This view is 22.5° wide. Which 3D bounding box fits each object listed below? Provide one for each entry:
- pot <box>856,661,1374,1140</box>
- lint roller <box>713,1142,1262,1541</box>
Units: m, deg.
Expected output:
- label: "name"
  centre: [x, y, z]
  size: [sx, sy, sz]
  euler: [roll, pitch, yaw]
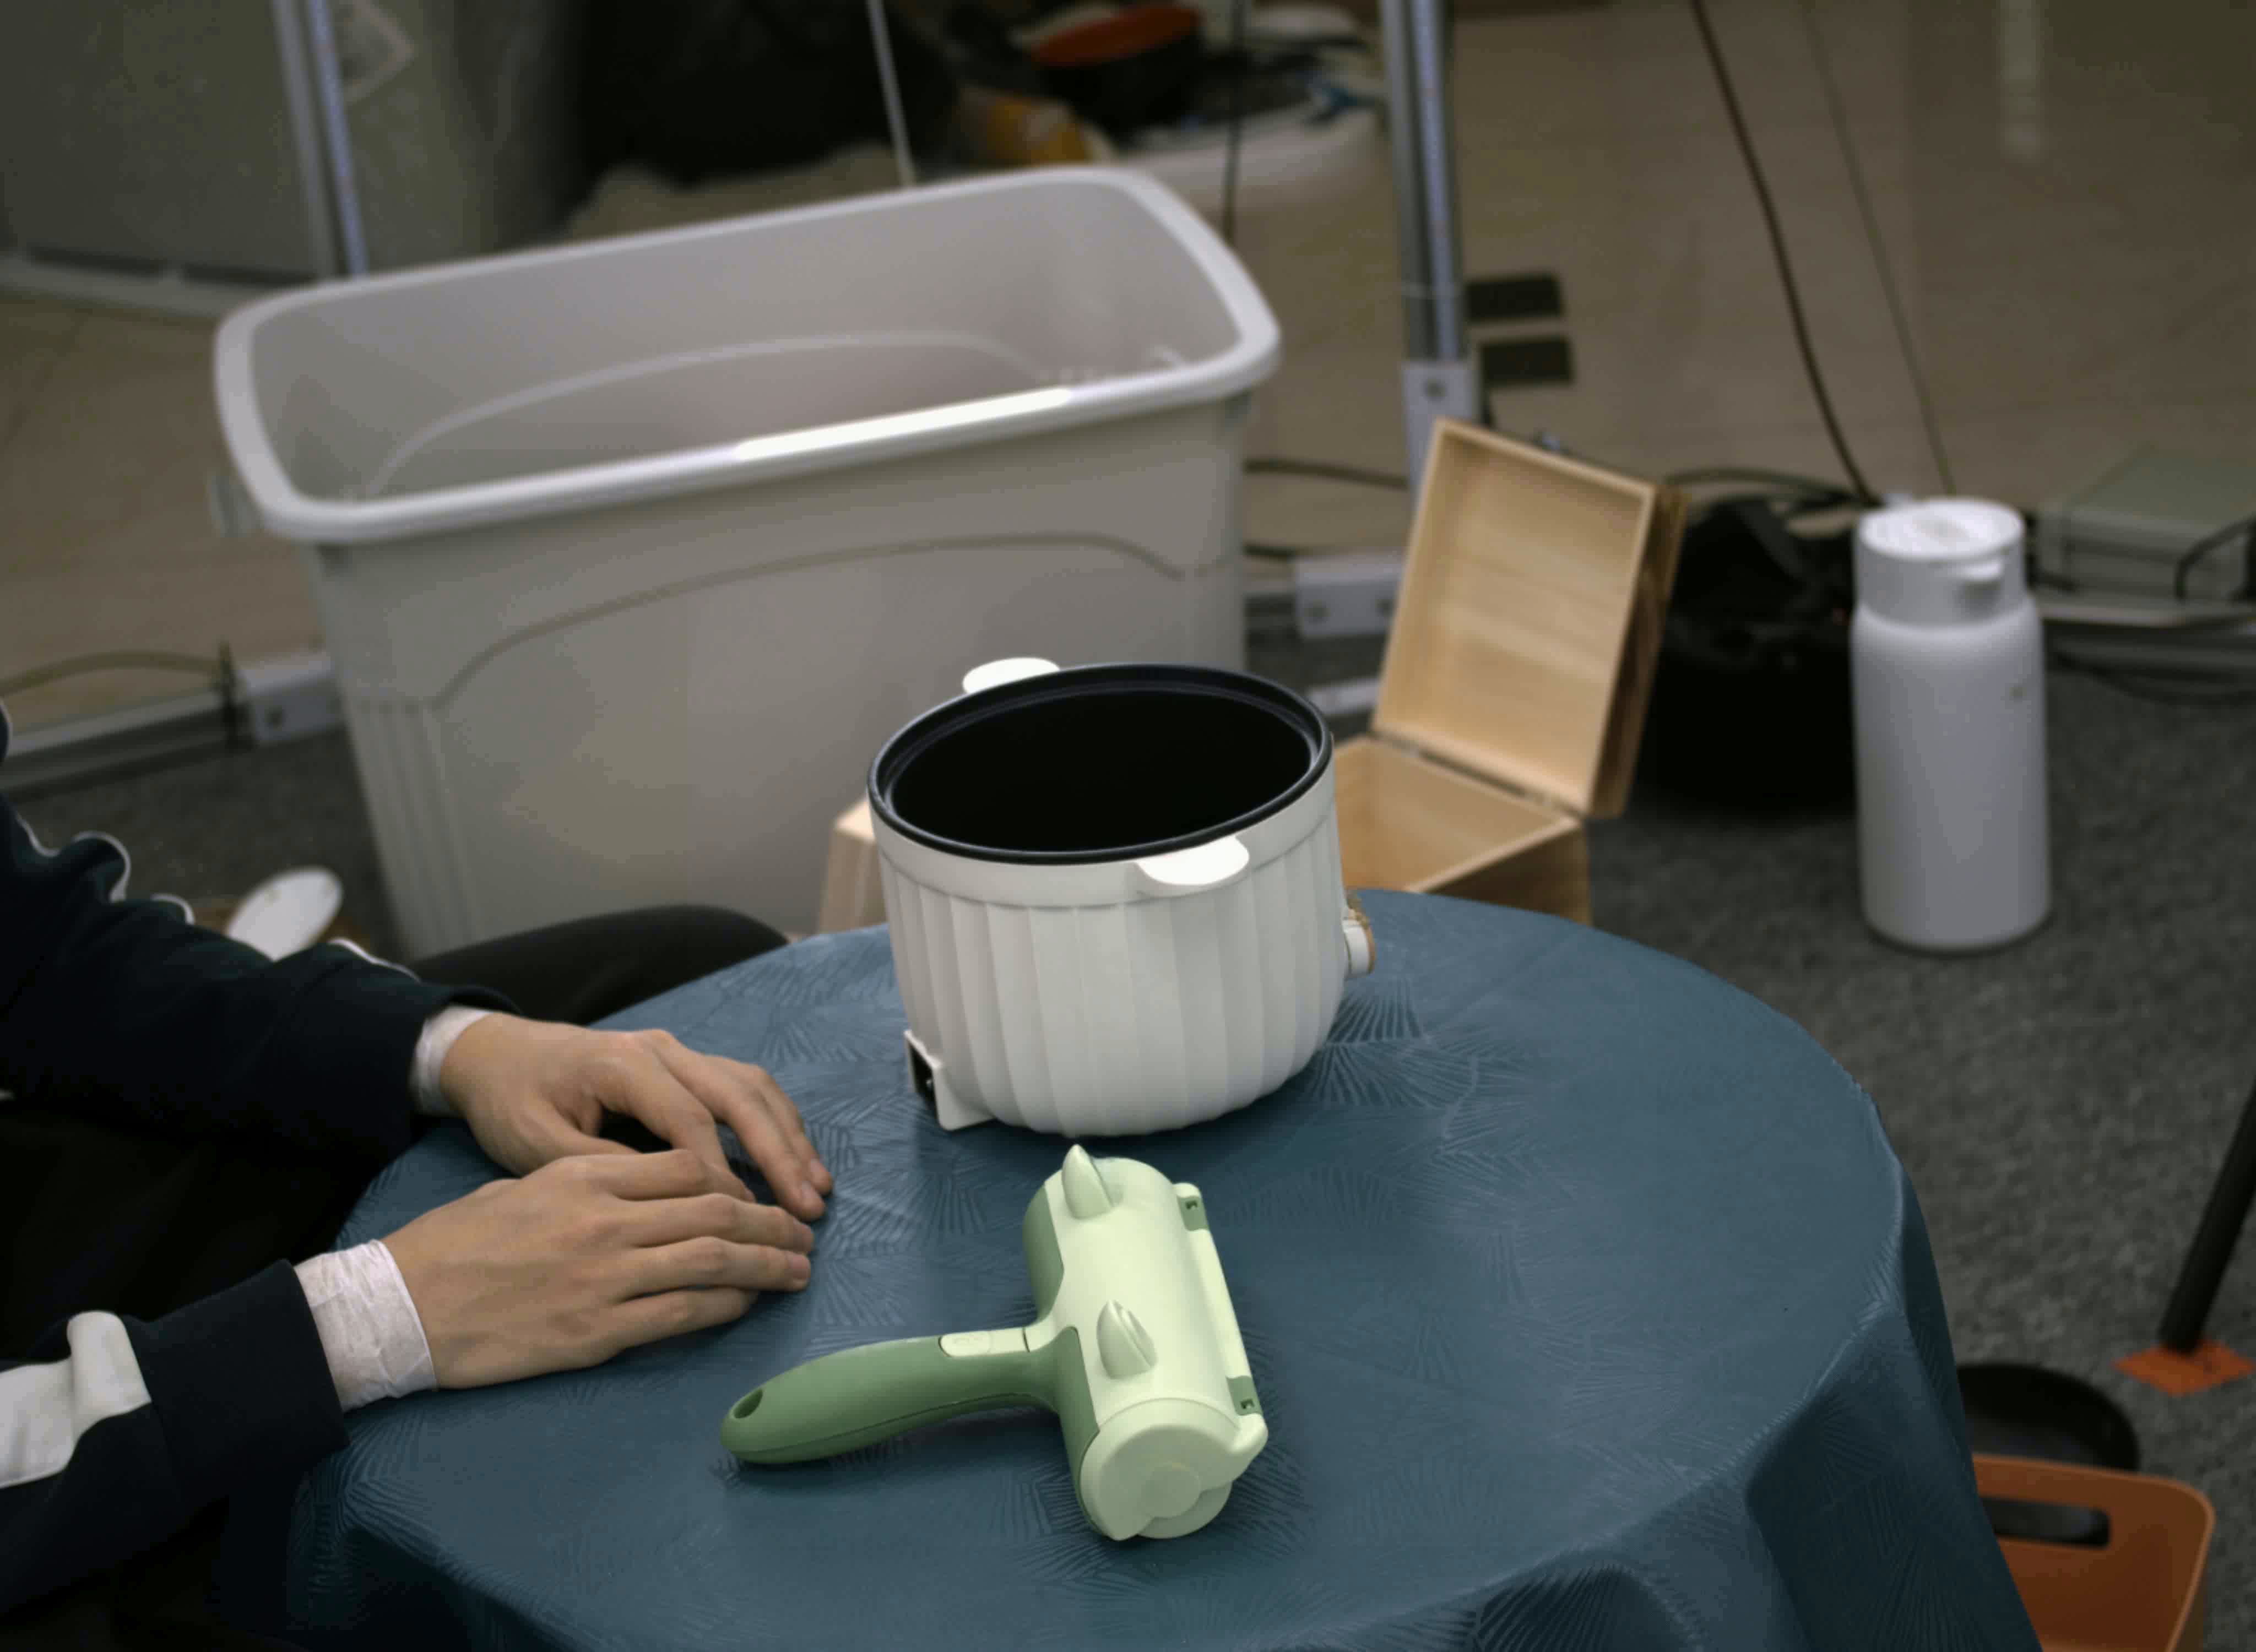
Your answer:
- label: "pot"
  centre: [-0.001, 0.031, 2.209]
  size: [0.190, 0.145, 0.237]
  euler: [-18, 29, -15]
- label: "lint roller"
  centre: [-0.055, 0.177, 1.985]
  size: [0.183, 0.083, 0.195]
  euler: [-3, 25, -6]
